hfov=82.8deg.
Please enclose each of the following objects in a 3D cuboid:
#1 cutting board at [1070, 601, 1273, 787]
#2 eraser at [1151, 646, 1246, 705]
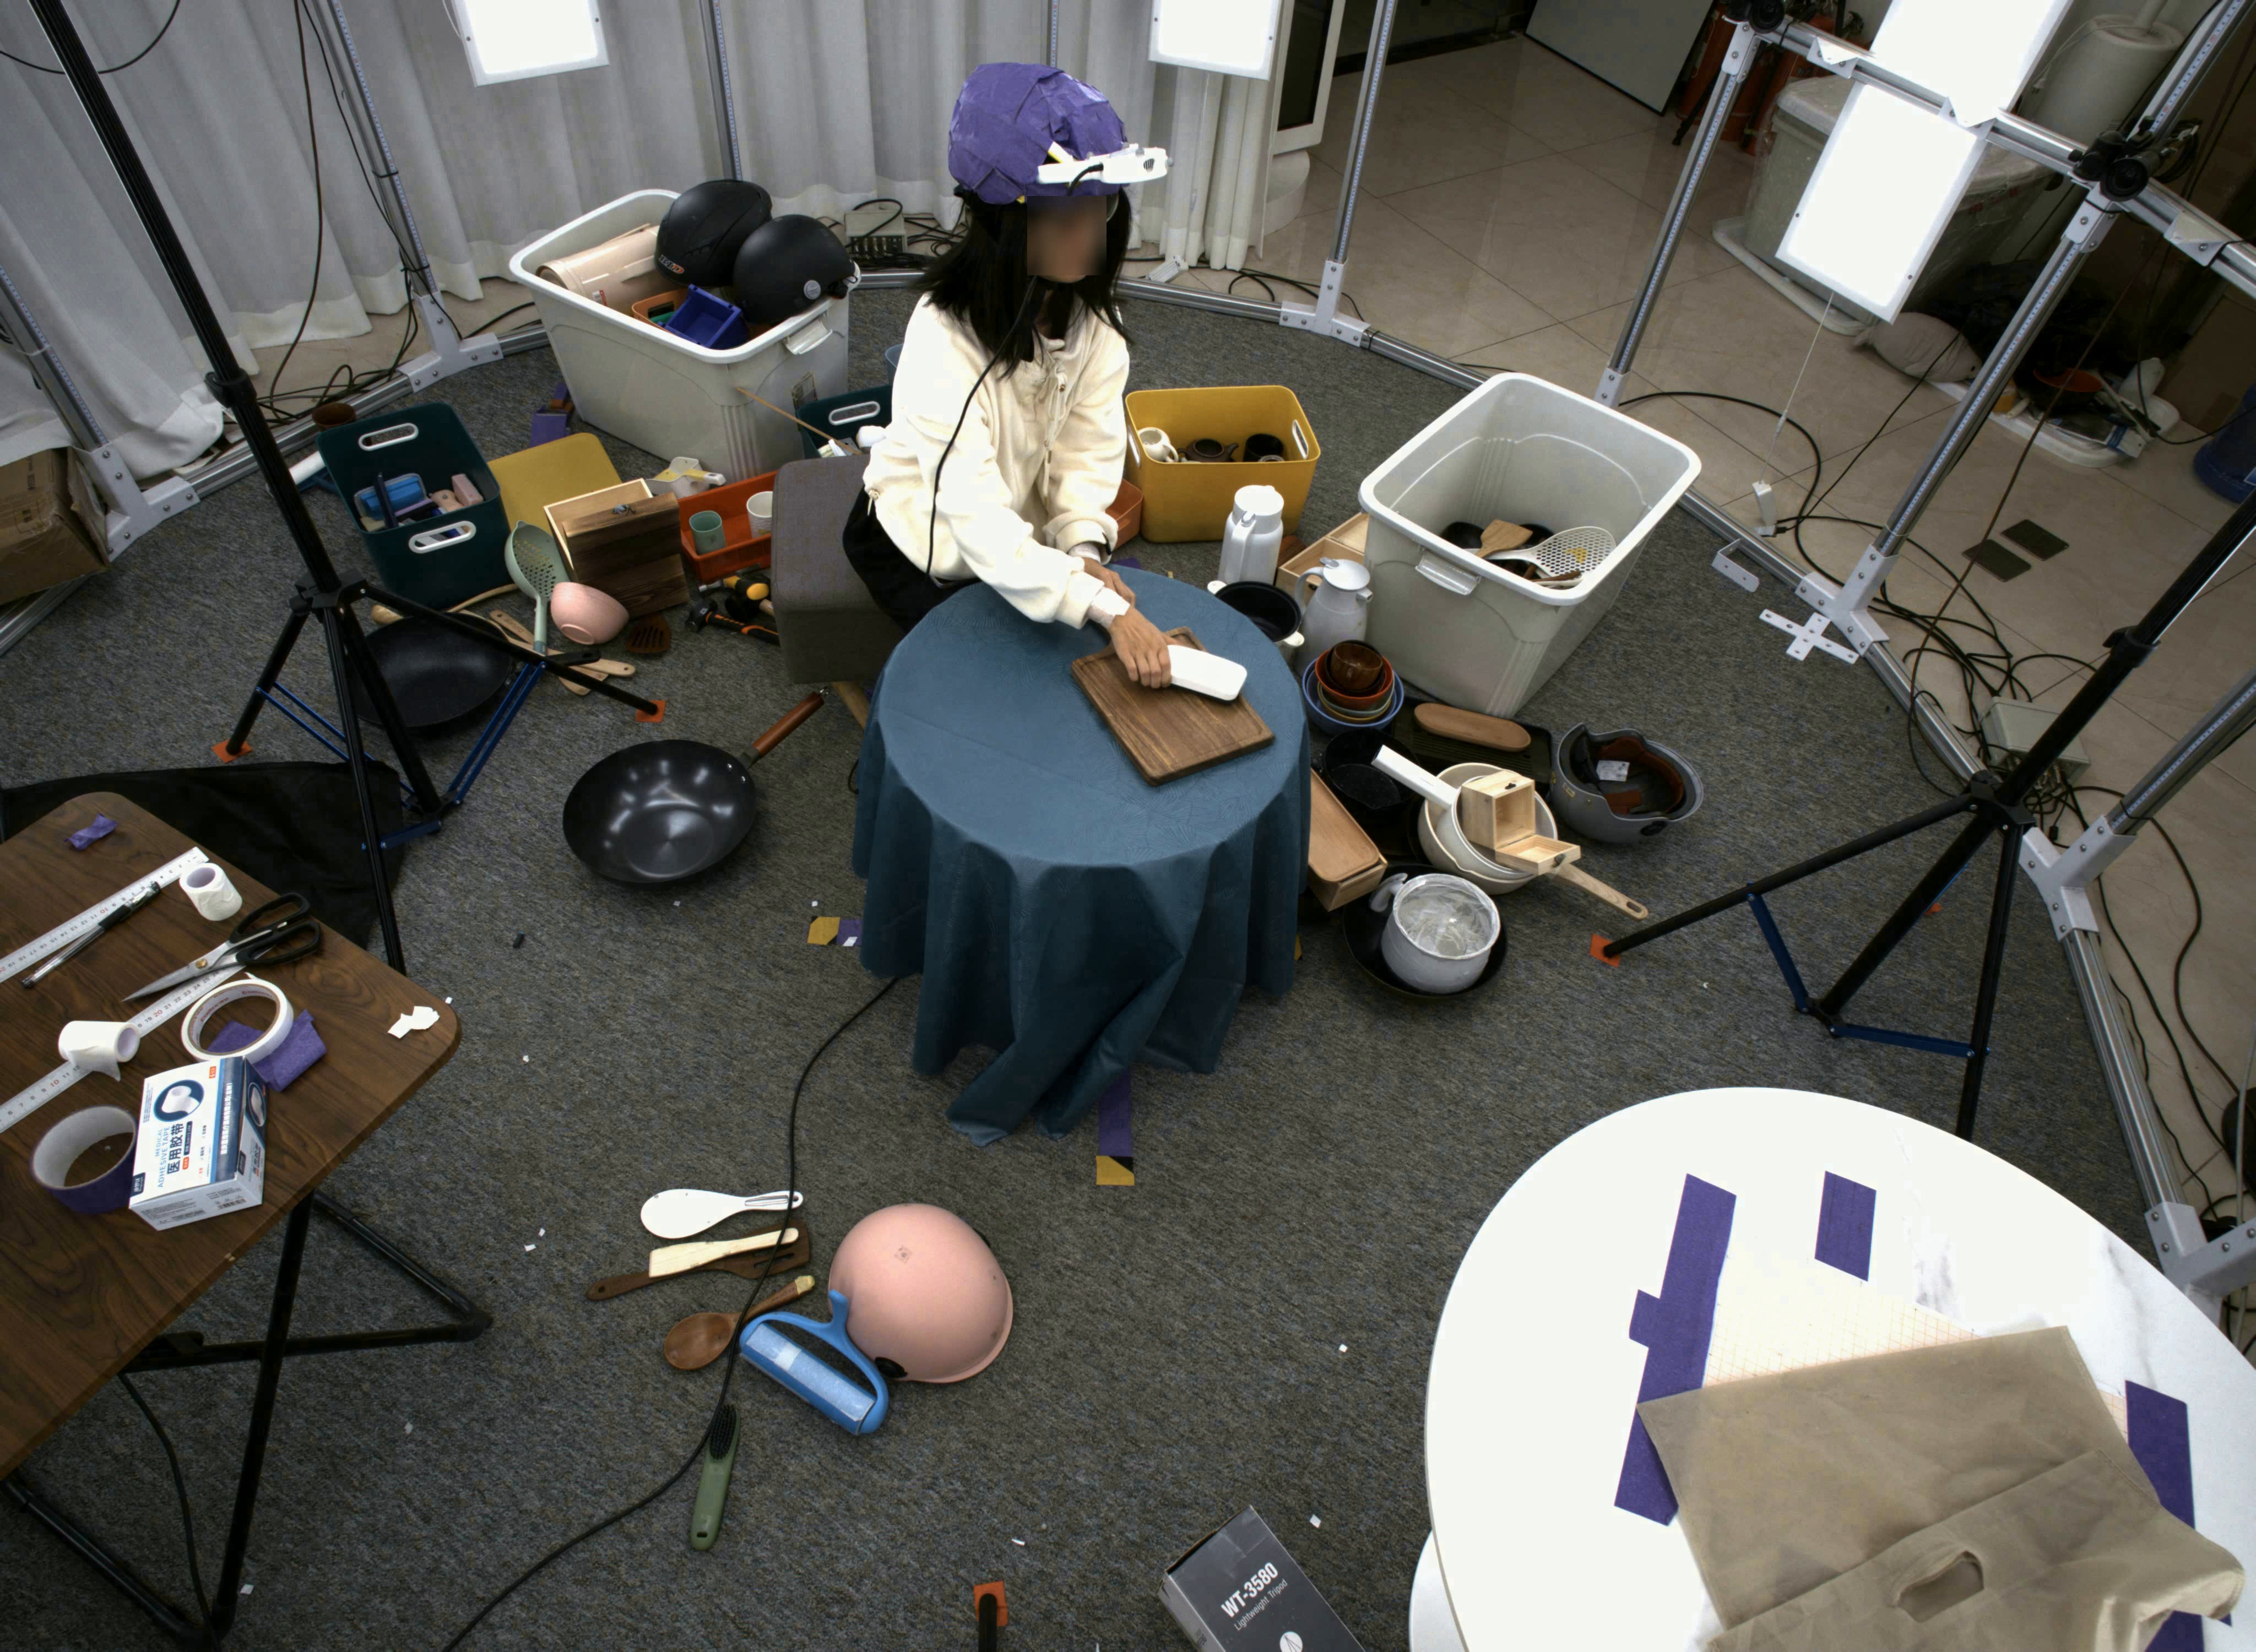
[{"bbox_3d":[0.036,-0.210,1.840,0.201,0.022,0.360,-20,54,-20],"label":"cutting board"},{"bbox_3d":[0.100,-0.217,1.823,0.132,0.034,0.064,21,52,16],"label":"eraser"}]
